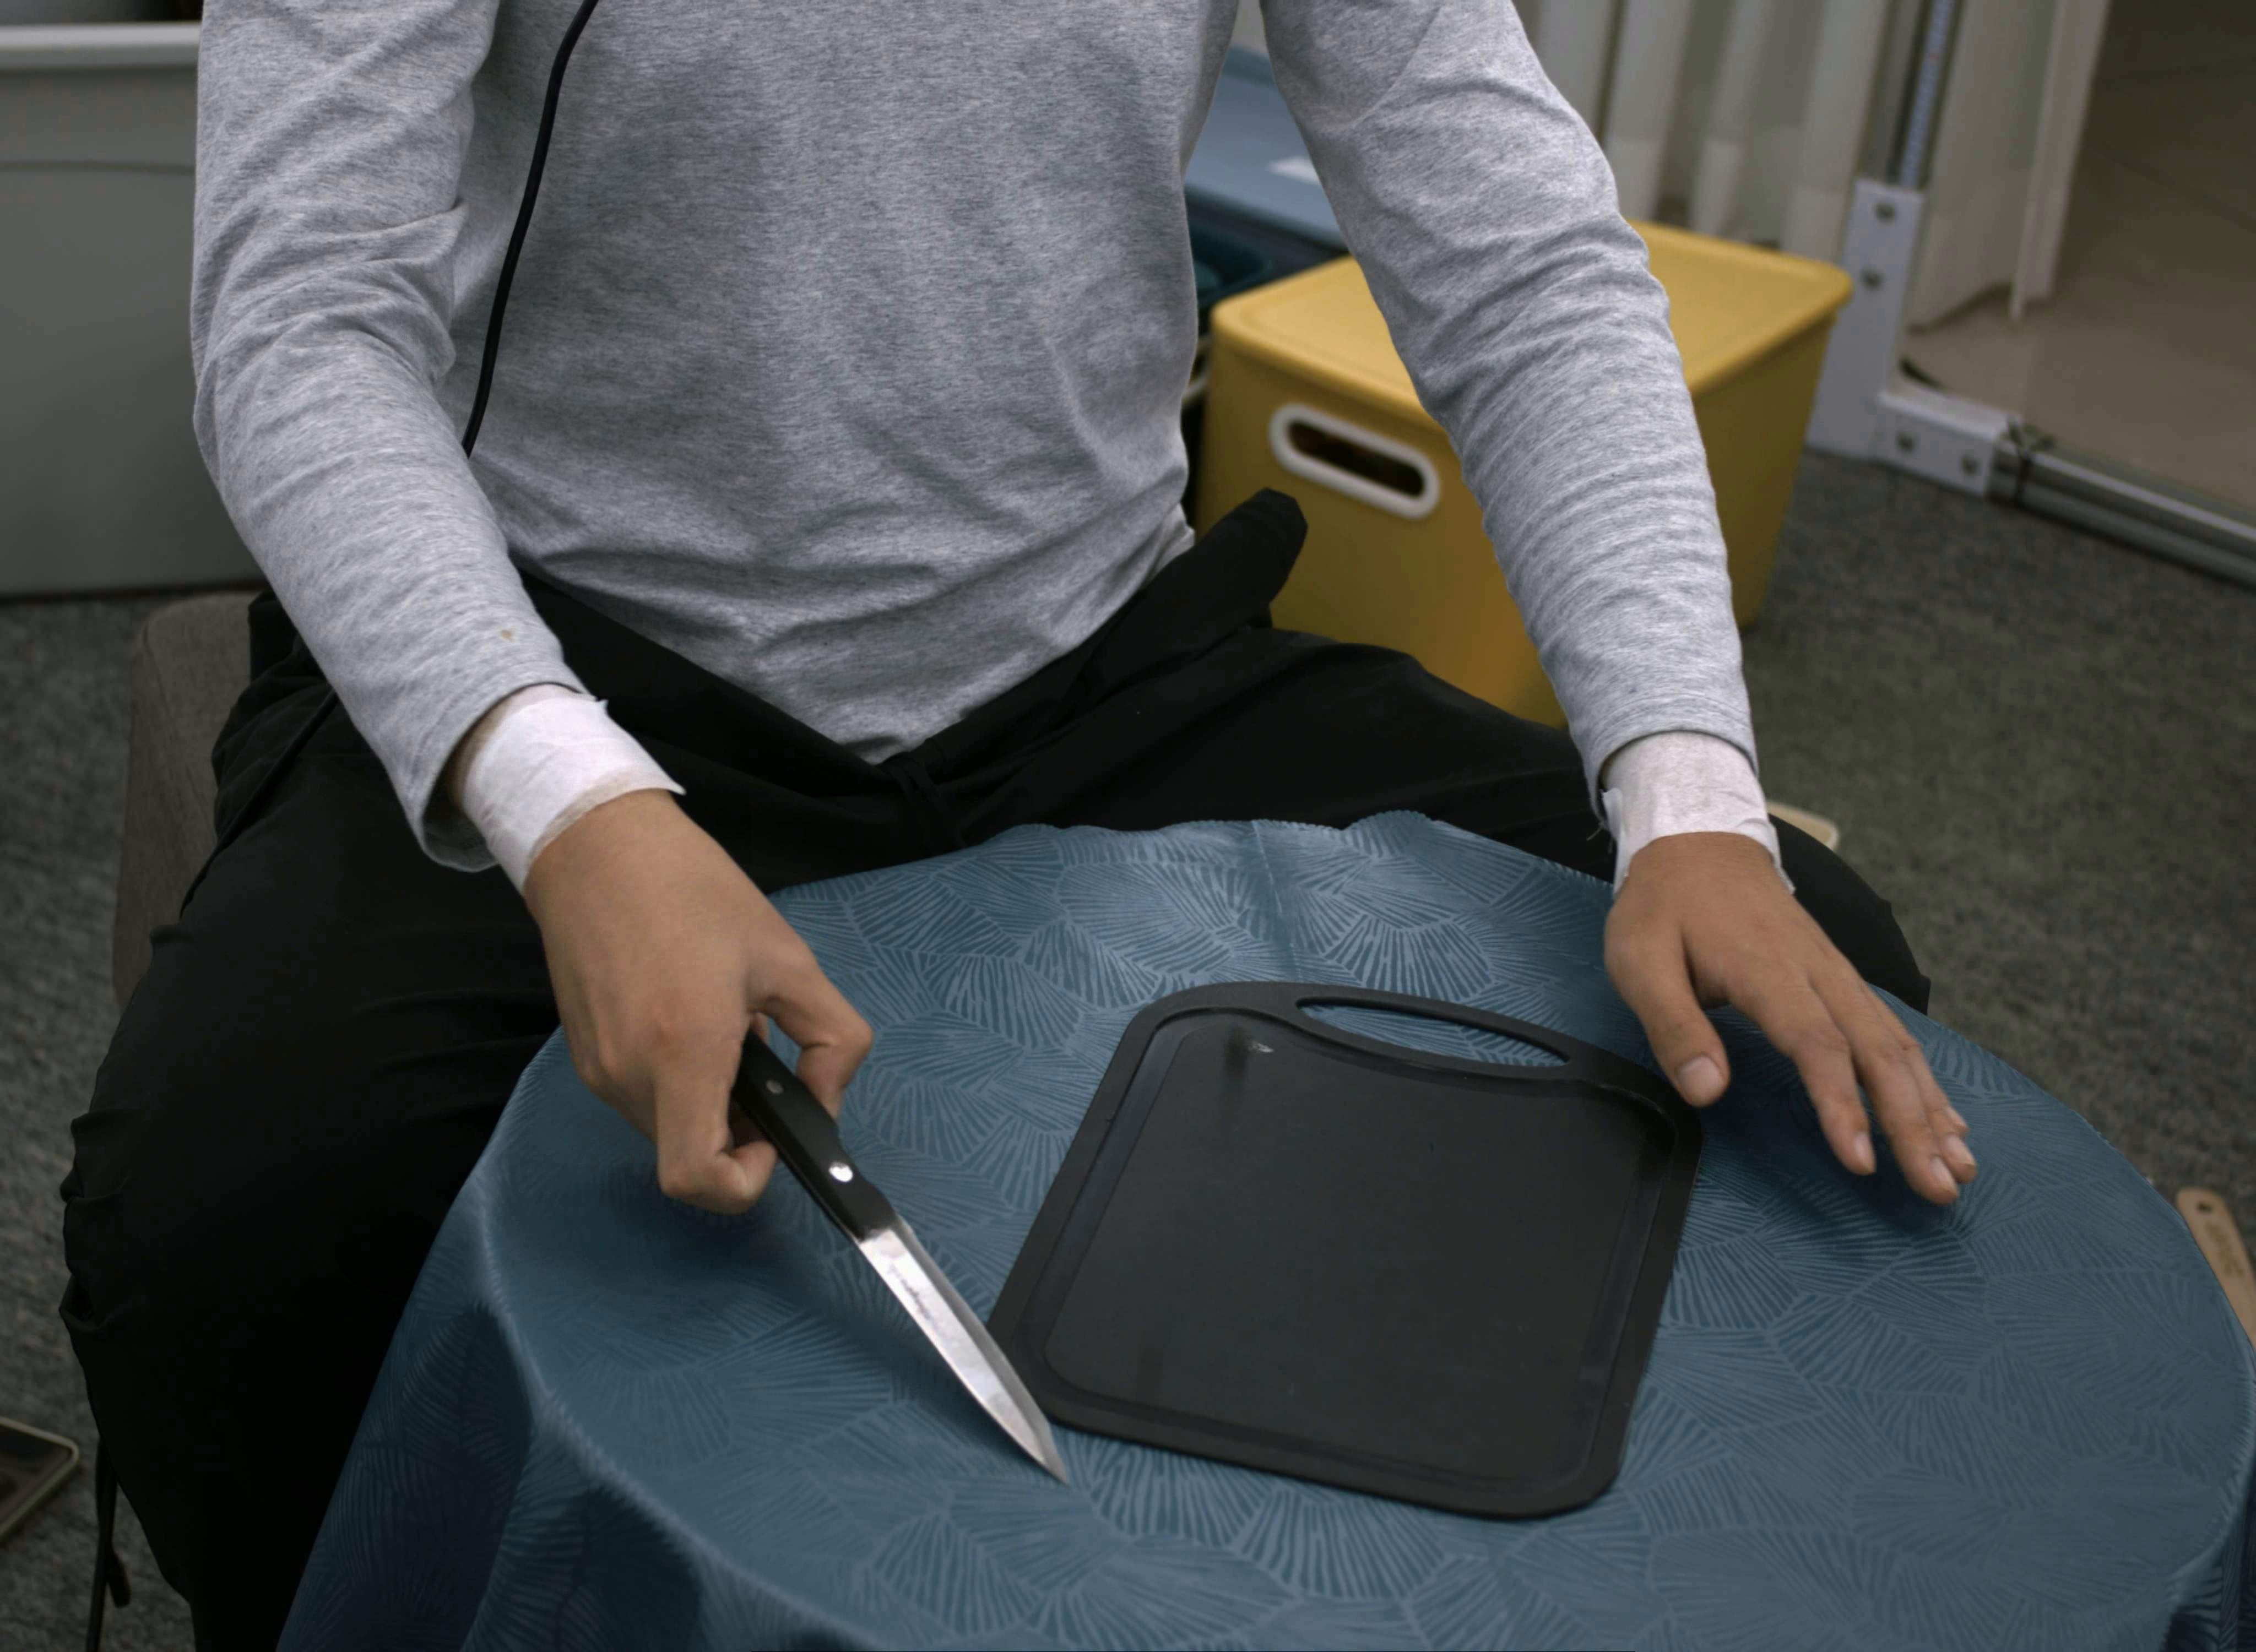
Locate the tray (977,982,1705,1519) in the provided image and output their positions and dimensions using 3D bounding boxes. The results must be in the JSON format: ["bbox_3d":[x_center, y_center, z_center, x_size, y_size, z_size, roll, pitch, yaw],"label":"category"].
[{"bbox_3d":[0.079,0.132,1.801,0.211,0.010,0.326,11,27,9],"label":"tray"}]

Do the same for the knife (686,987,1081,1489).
[{"bbox_3d":[-0.081,0.132,1.713,0.024,0.016,0.240,-12,45,-34],"label":"knife"}]
